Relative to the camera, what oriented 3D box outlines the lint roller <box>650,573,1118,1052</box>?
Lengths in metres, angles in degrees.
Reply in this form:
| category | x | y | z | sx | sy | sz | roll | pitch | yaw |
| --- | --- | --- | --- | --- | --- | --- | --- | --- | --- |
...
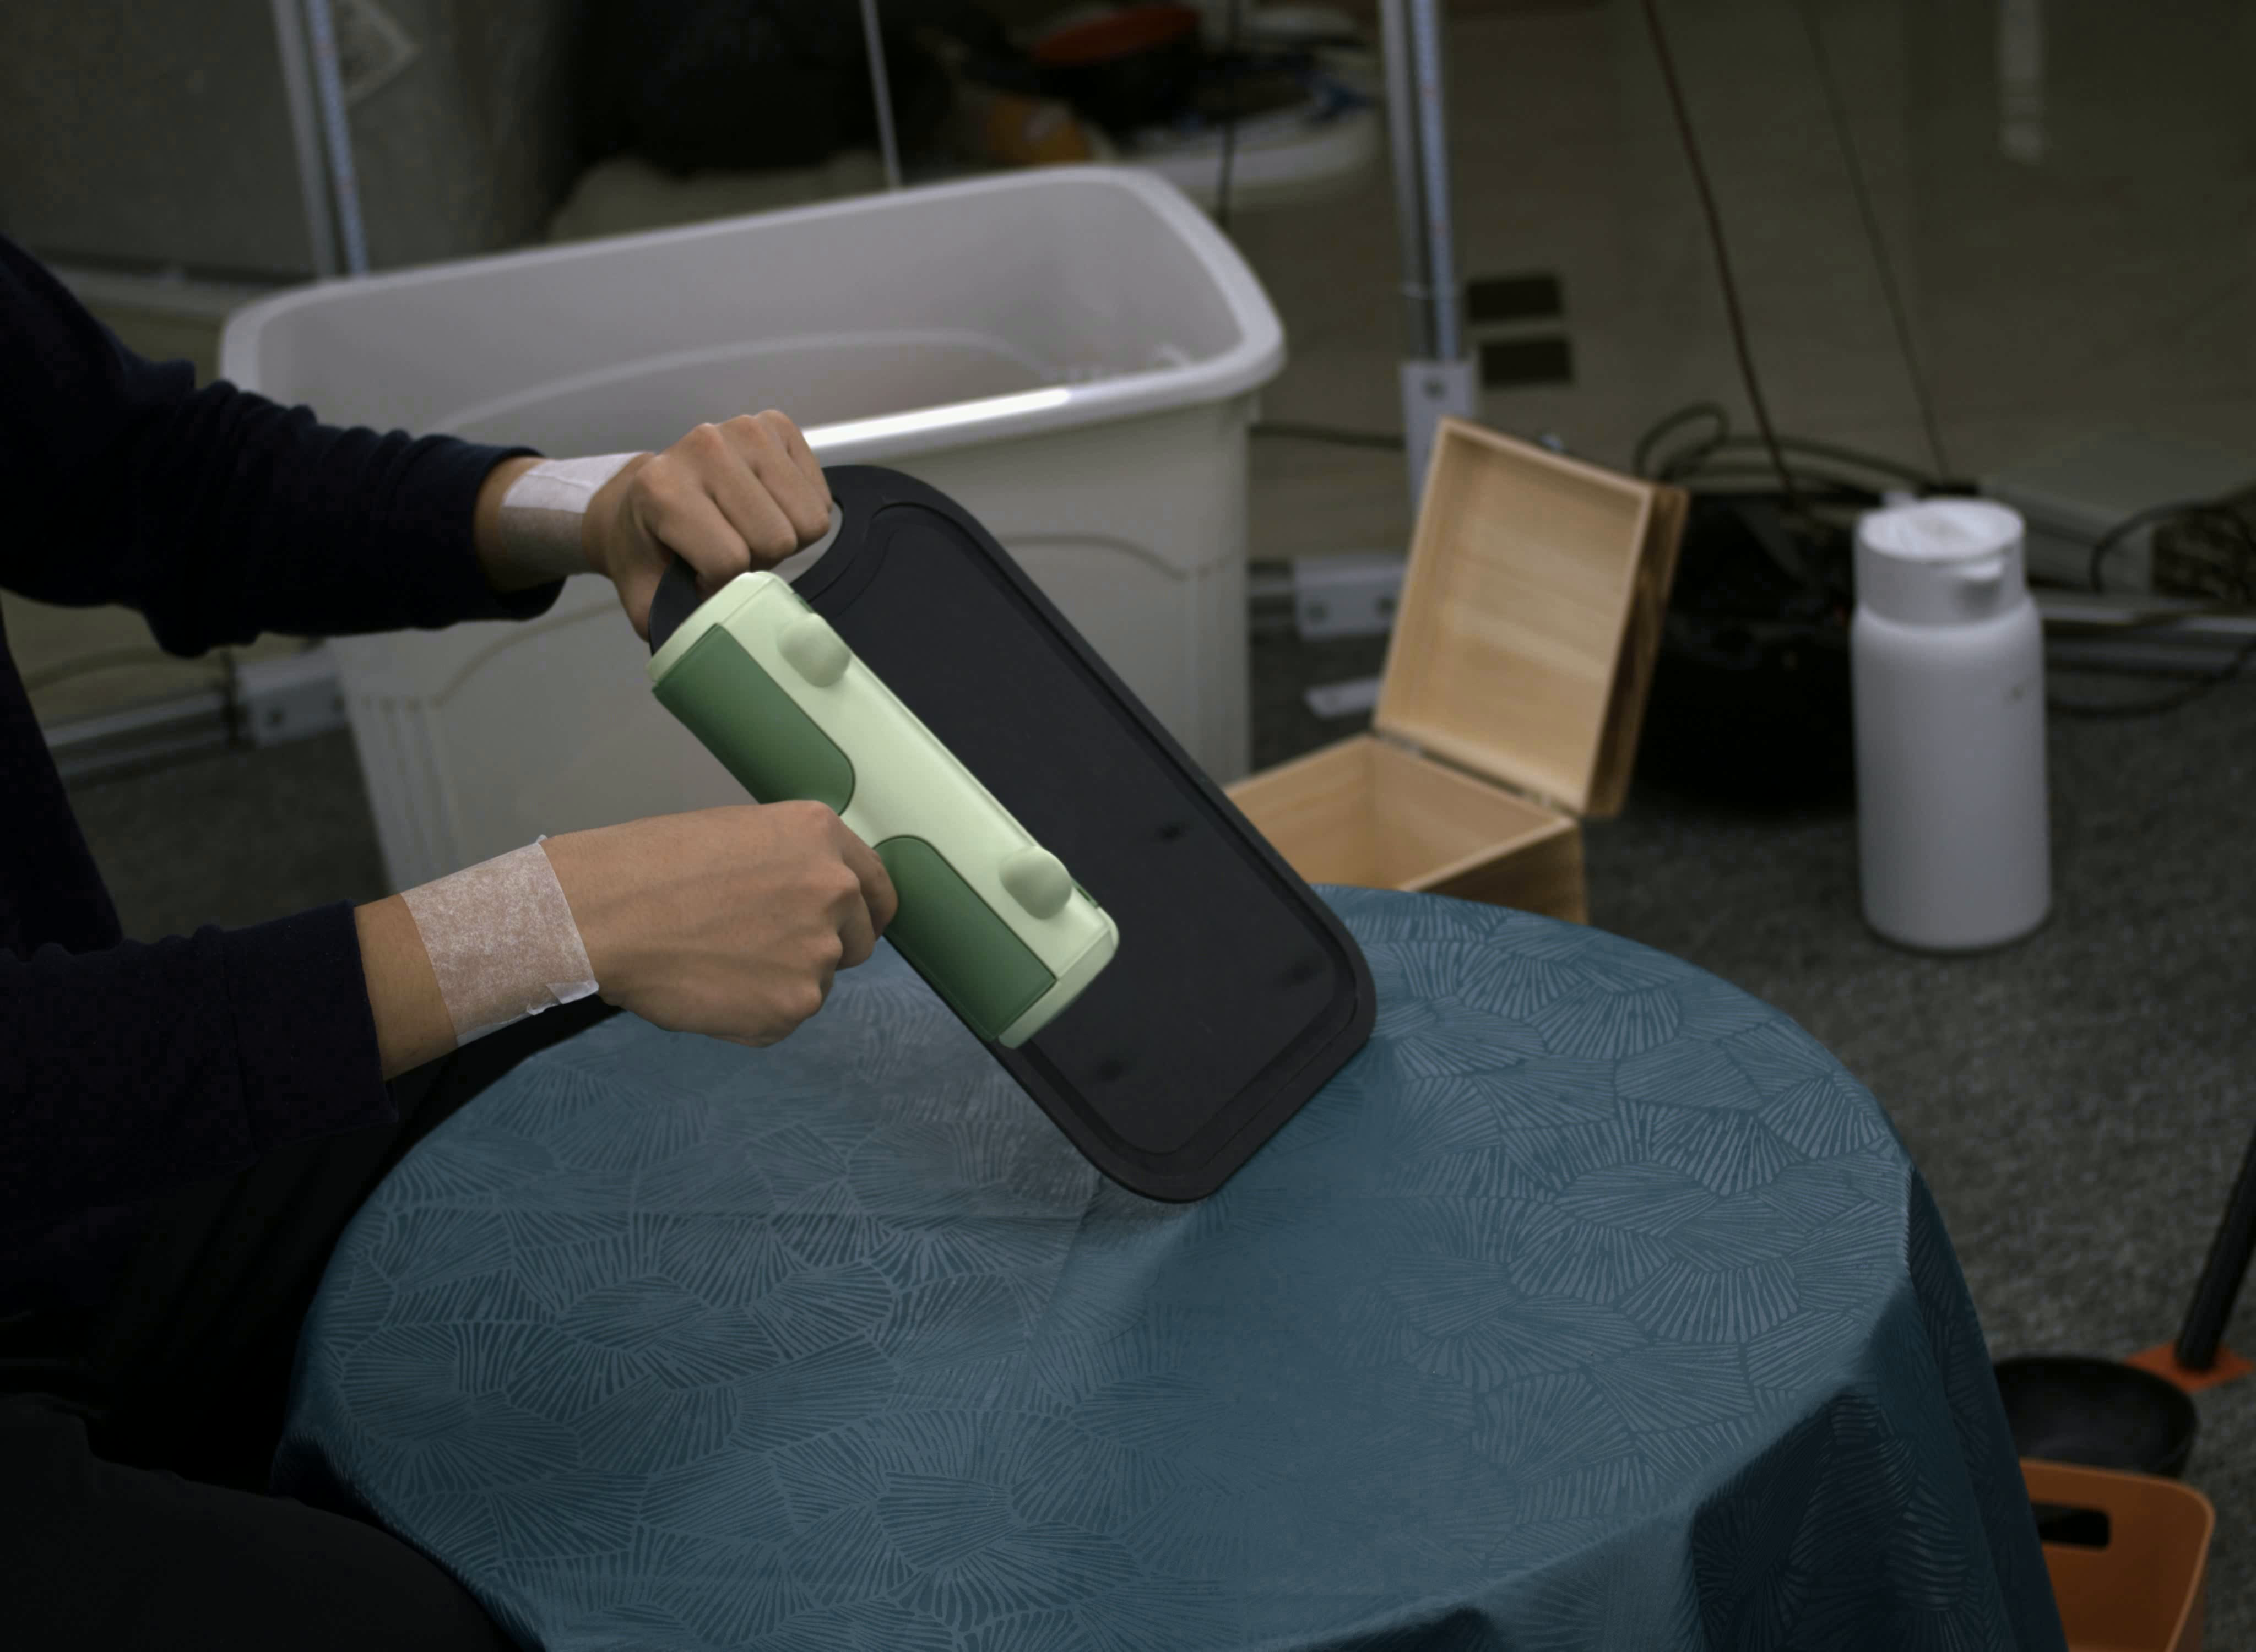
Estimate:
| category | x | y | z | sx | sy | sz | roll | pitch | yaw |
| --- | --- | --- | --- | --- | --- | --- | --- | --- | --- |
| lint roller | -0.102 | 0.010 | 2.003 | 0.083 | 0.199 | 0.181 | -42 | 2 | 32 |

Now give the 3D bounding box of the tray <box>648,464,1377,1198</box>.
| category | x | y | z | sx | sy | sz | roll | pitch | yaw |
| --- | --- | --- | --- | --- | --- | --- | --- | --- | --- |
| tray | -0.046 | -0.008 | 2.186 | 0.010 | 0.325 | 0.208 | -43 | -1 | 39 |
